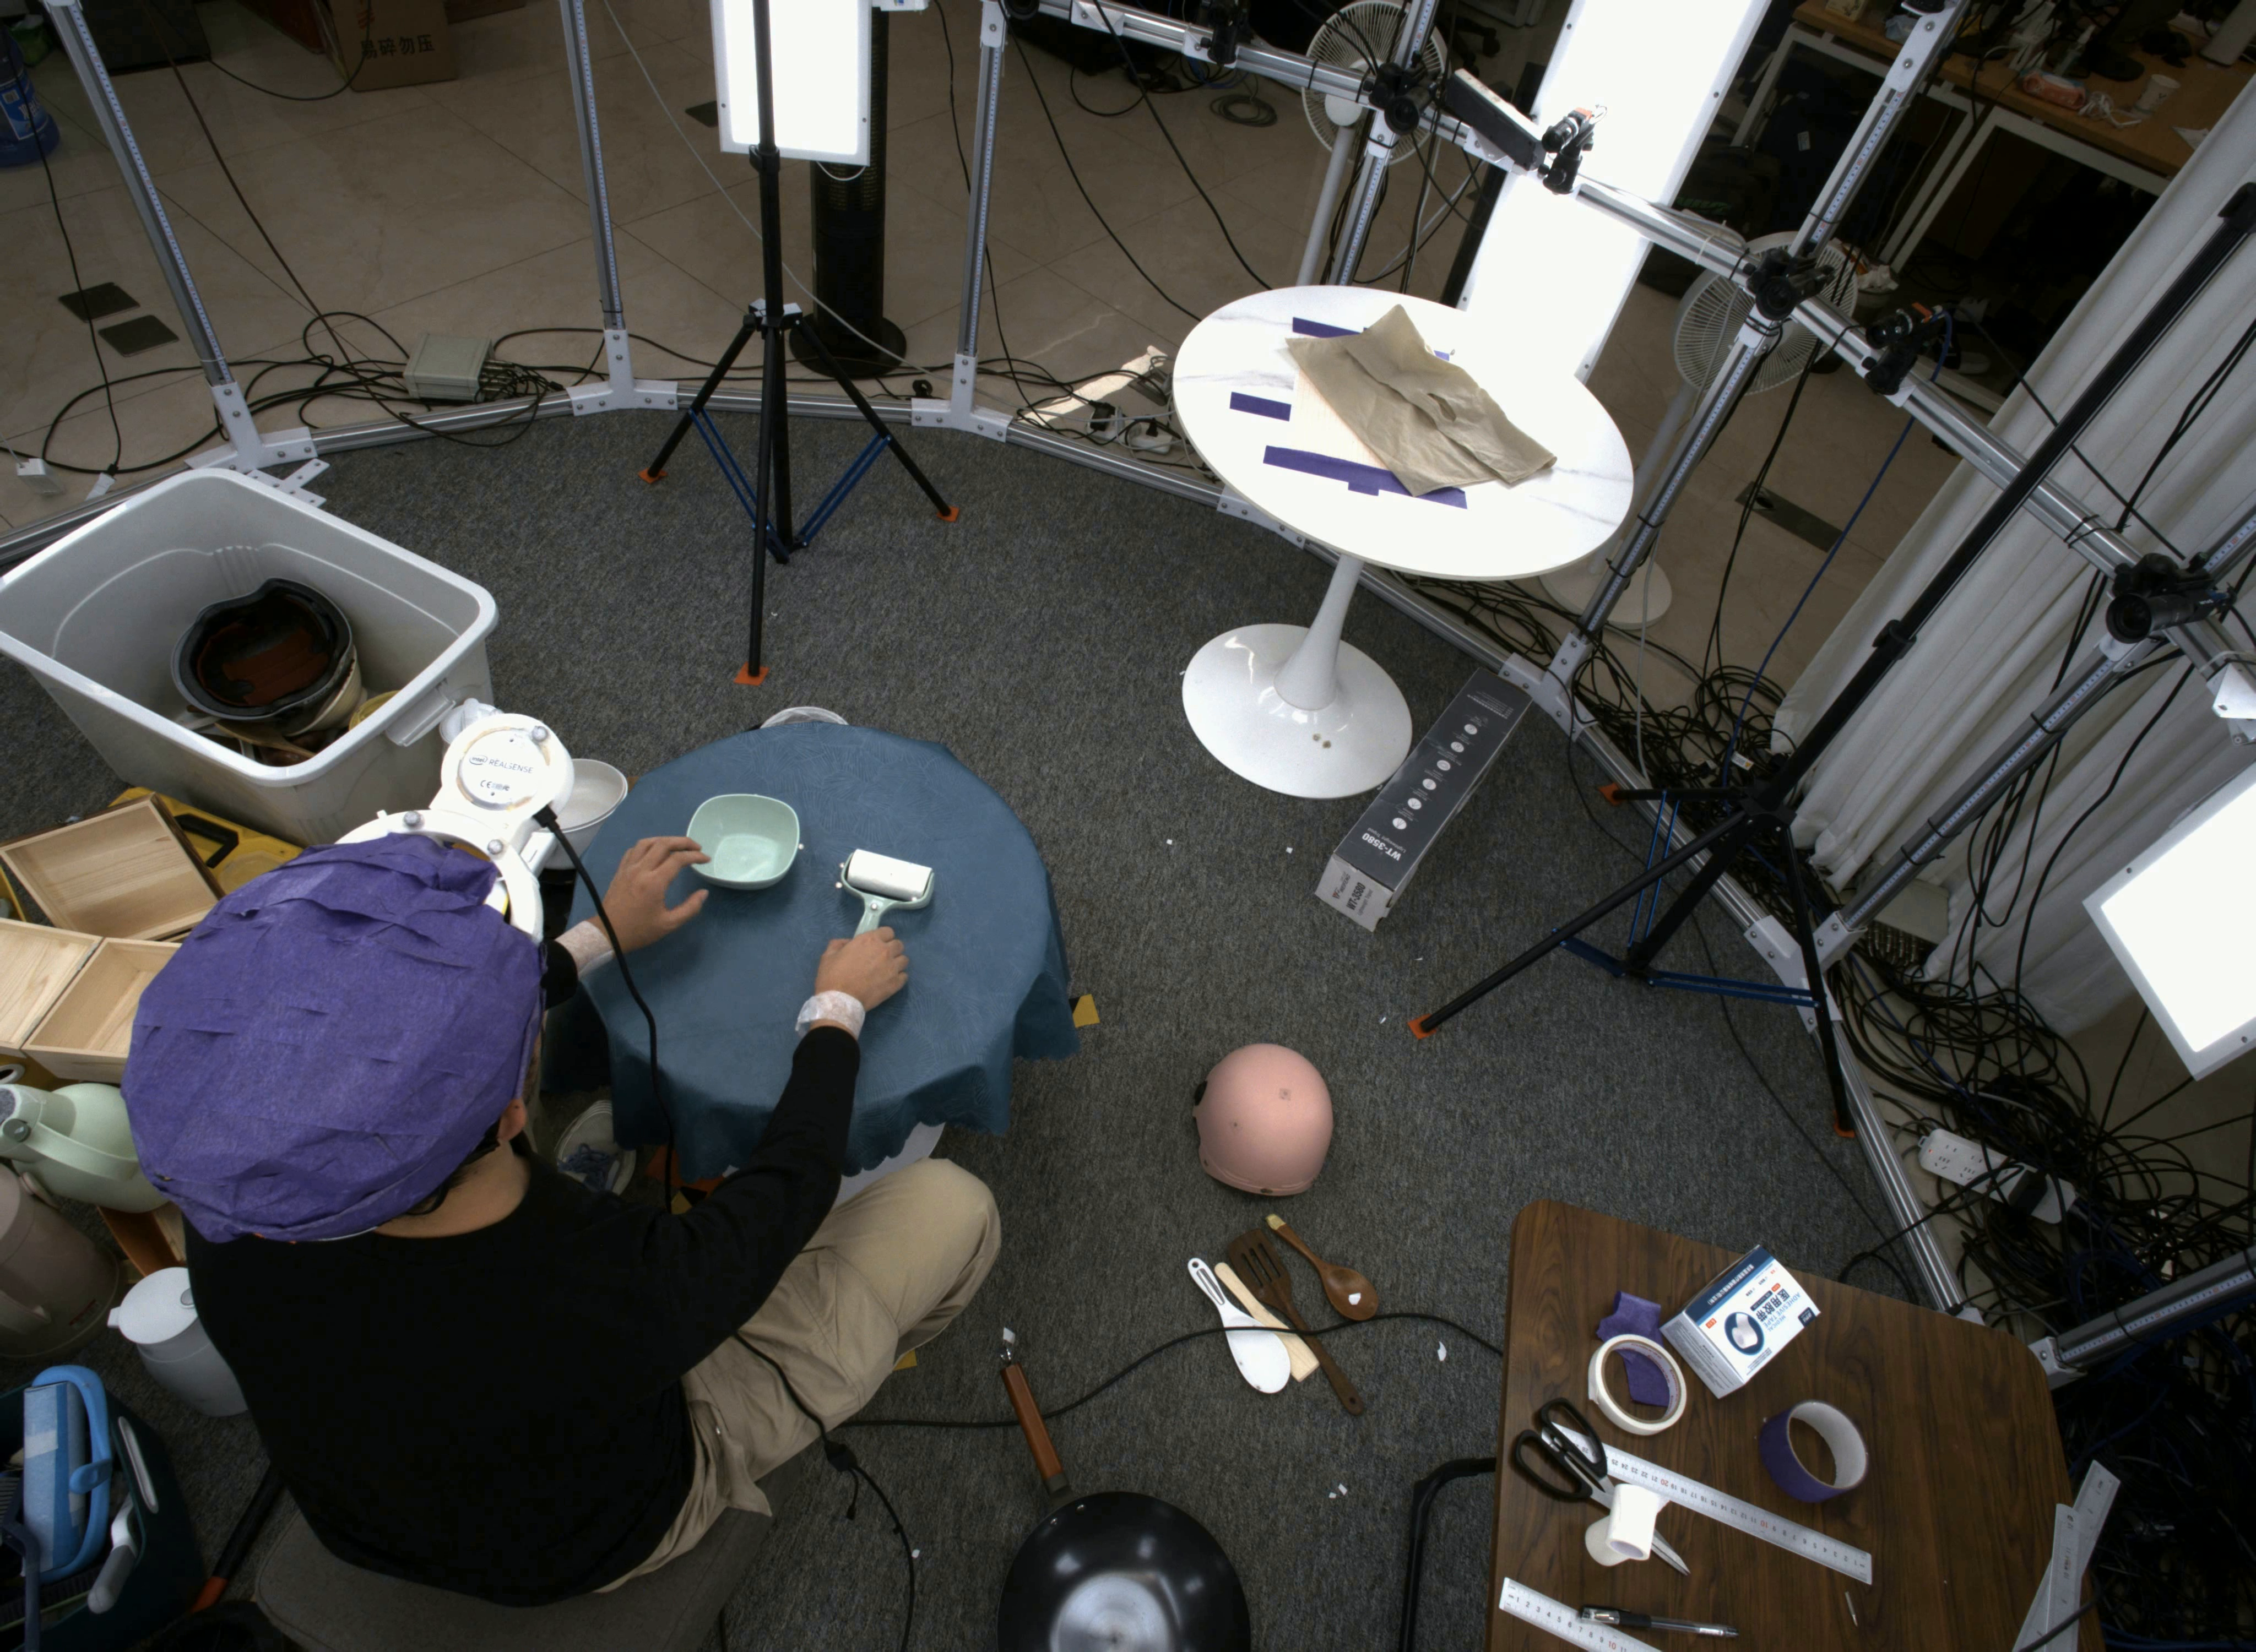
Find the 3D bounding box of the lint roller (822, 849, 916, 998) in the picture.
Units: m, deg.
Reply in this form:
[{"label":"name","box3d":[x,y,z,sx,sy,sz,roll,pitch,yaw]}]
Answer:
[{"label":"lint roller","box3d":[-0.341,0.118,1.623,0.116,0.049,0.195,15,53,-5]}]

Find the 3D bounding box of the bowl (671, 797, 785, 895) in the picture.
[{"label":"bowl","box3d":[-0.505,0.033,1.636,0.151,0.060,0.148,9,51,-9]}]
